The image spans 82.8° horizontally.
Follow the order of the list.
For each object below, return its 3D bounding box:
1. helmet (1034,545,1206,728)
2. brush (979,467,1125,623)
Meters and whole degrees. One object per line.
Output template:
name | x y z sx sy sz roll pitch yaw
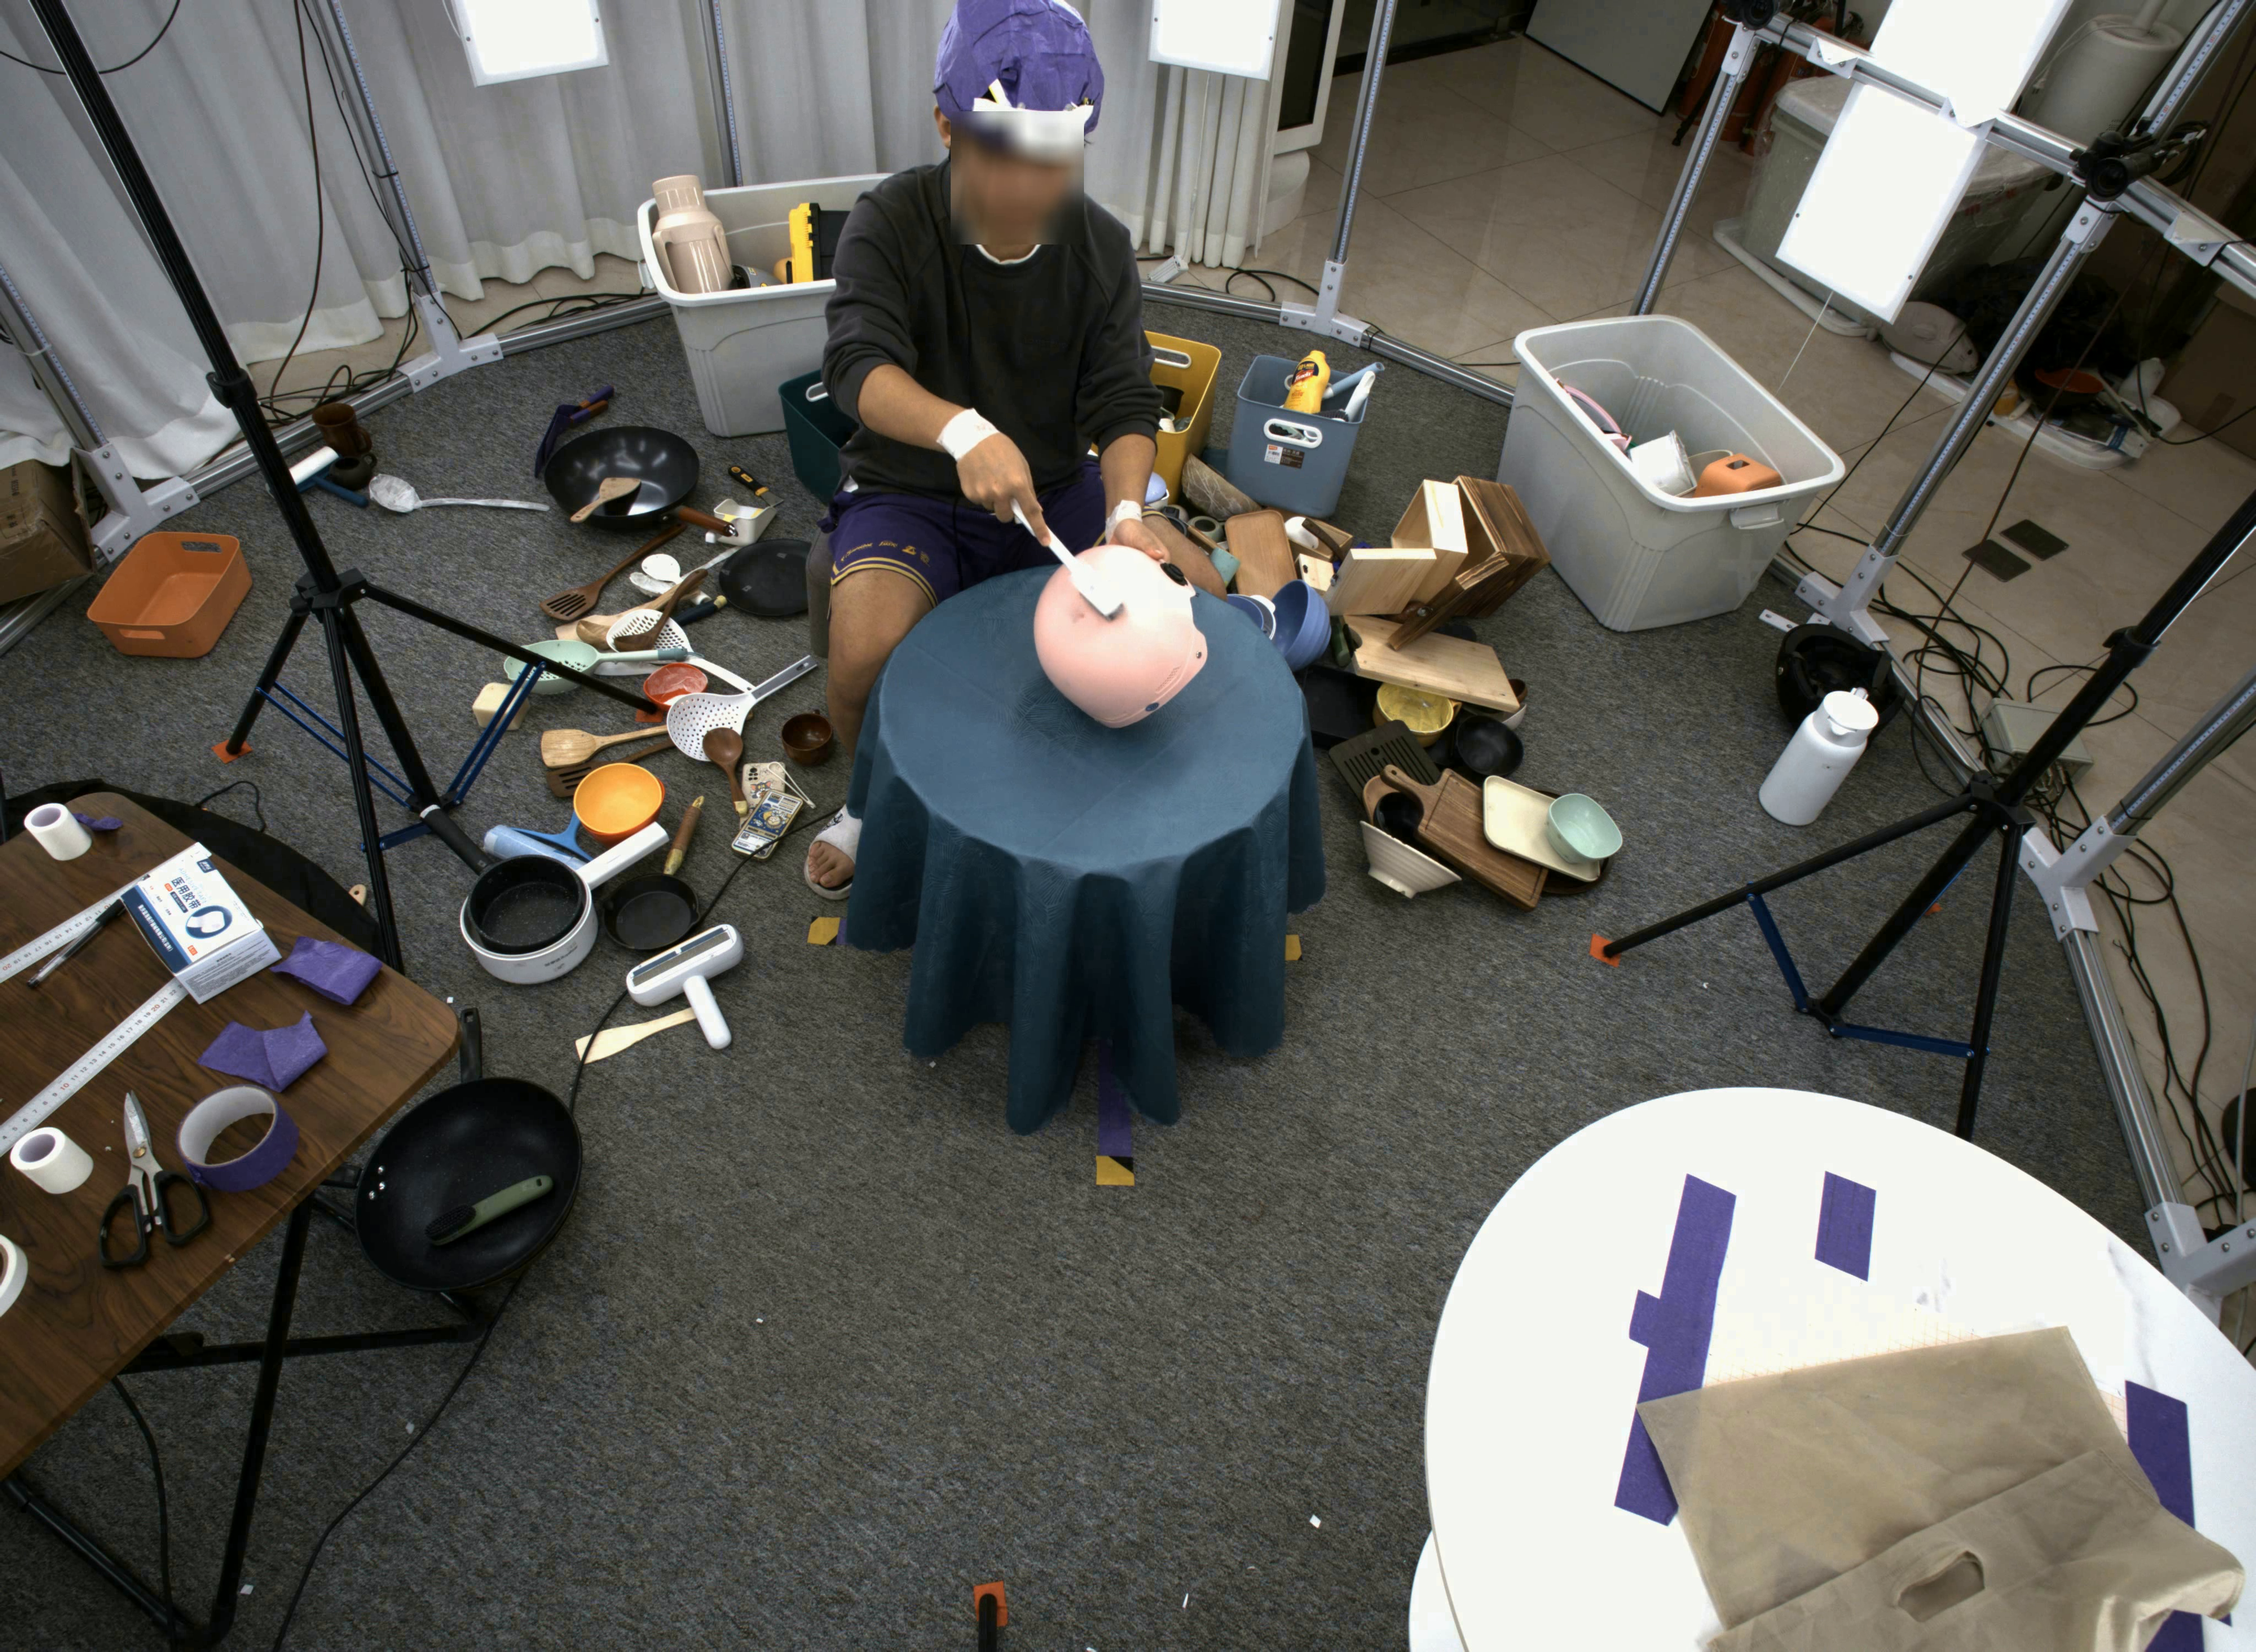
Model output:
helmet | -0.034 -0.275 1.732 0.232 0.156 0.272 -33 58 23
brush | -0.095 -0.351 1.614 0.243 0.050 0.034 45 85 -4
